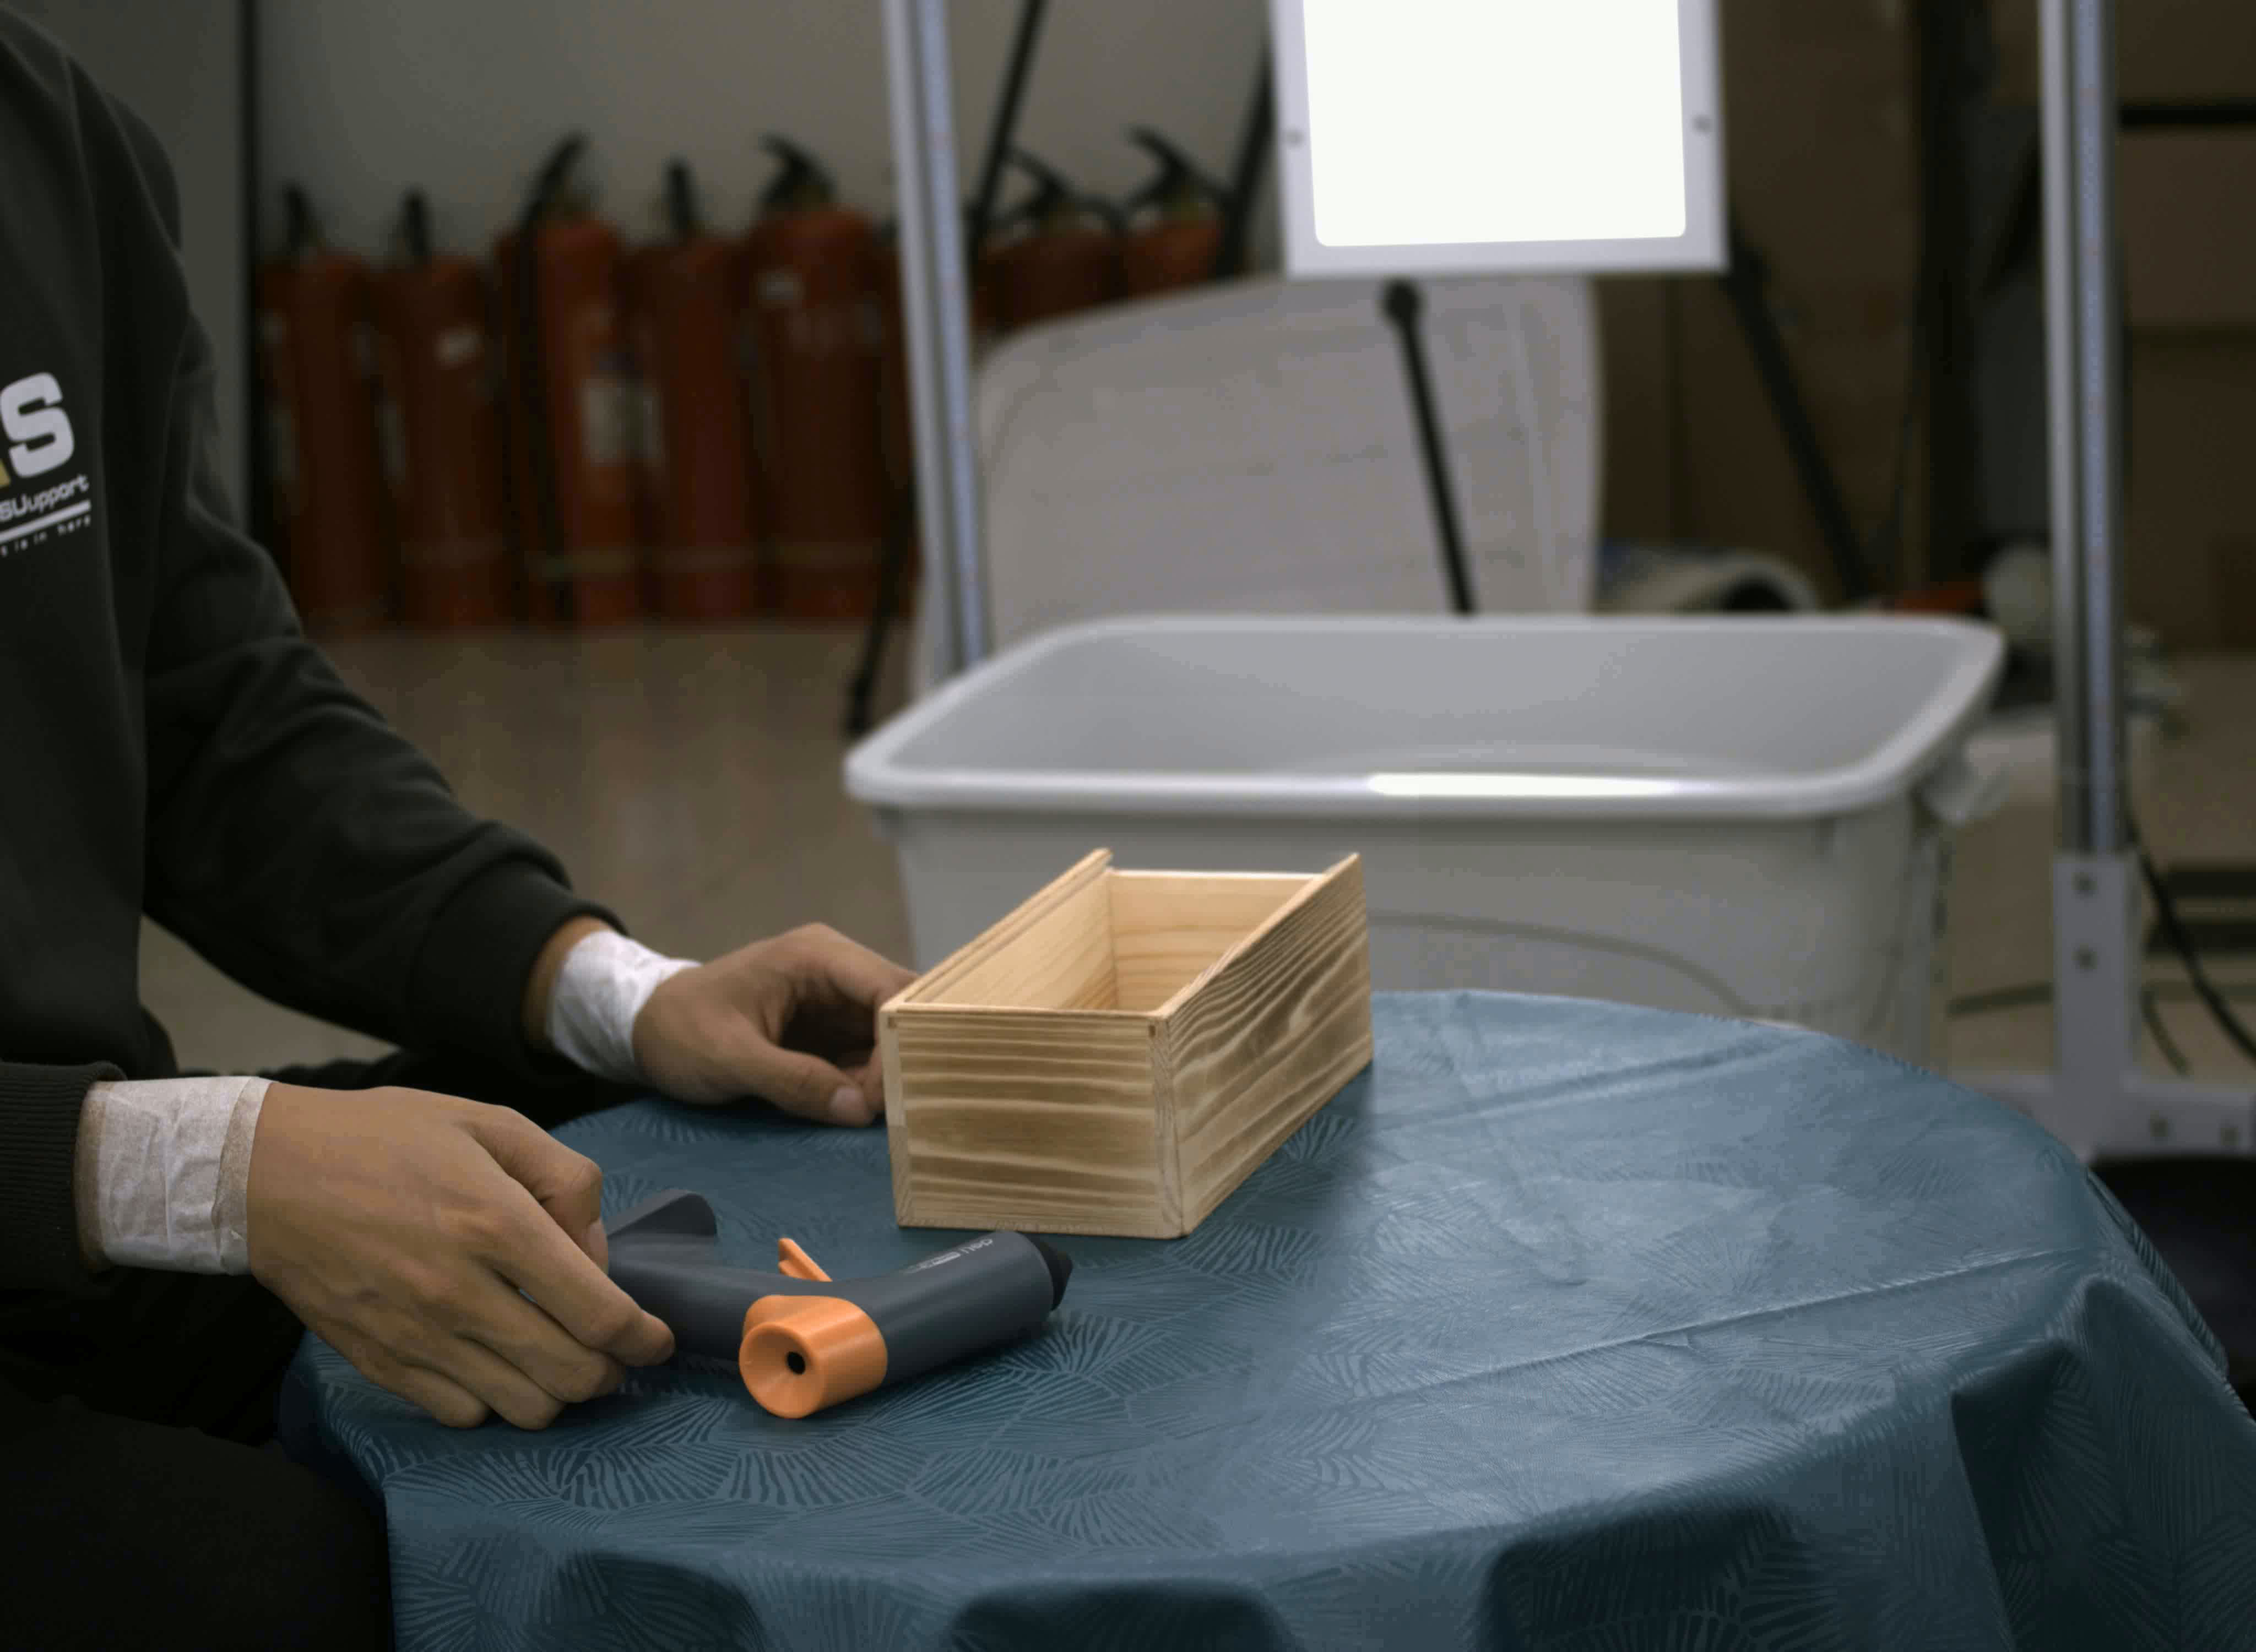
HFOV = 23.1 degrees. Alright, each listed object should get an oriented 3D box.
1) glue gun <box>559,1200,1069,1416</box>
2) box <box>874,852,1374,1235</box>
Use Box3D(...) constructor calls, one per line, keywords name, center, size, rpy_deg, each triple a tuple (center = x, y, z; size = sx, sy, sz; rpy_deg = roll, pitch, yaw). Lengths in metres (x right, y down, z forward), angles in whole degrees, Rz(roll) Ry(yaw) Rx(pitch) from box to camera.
Box3D(name="glue gun", center=(-0.101, 0.152, 1.766), size=(0.142, 0.041, 0.115), rpy_deg=(6, 15, 32))
Box3D(name="box", center=(0.003, 0.074, 1.947), size=(0.109, 0.080, 0.207), rpy_deg=(0, 14, 22))
